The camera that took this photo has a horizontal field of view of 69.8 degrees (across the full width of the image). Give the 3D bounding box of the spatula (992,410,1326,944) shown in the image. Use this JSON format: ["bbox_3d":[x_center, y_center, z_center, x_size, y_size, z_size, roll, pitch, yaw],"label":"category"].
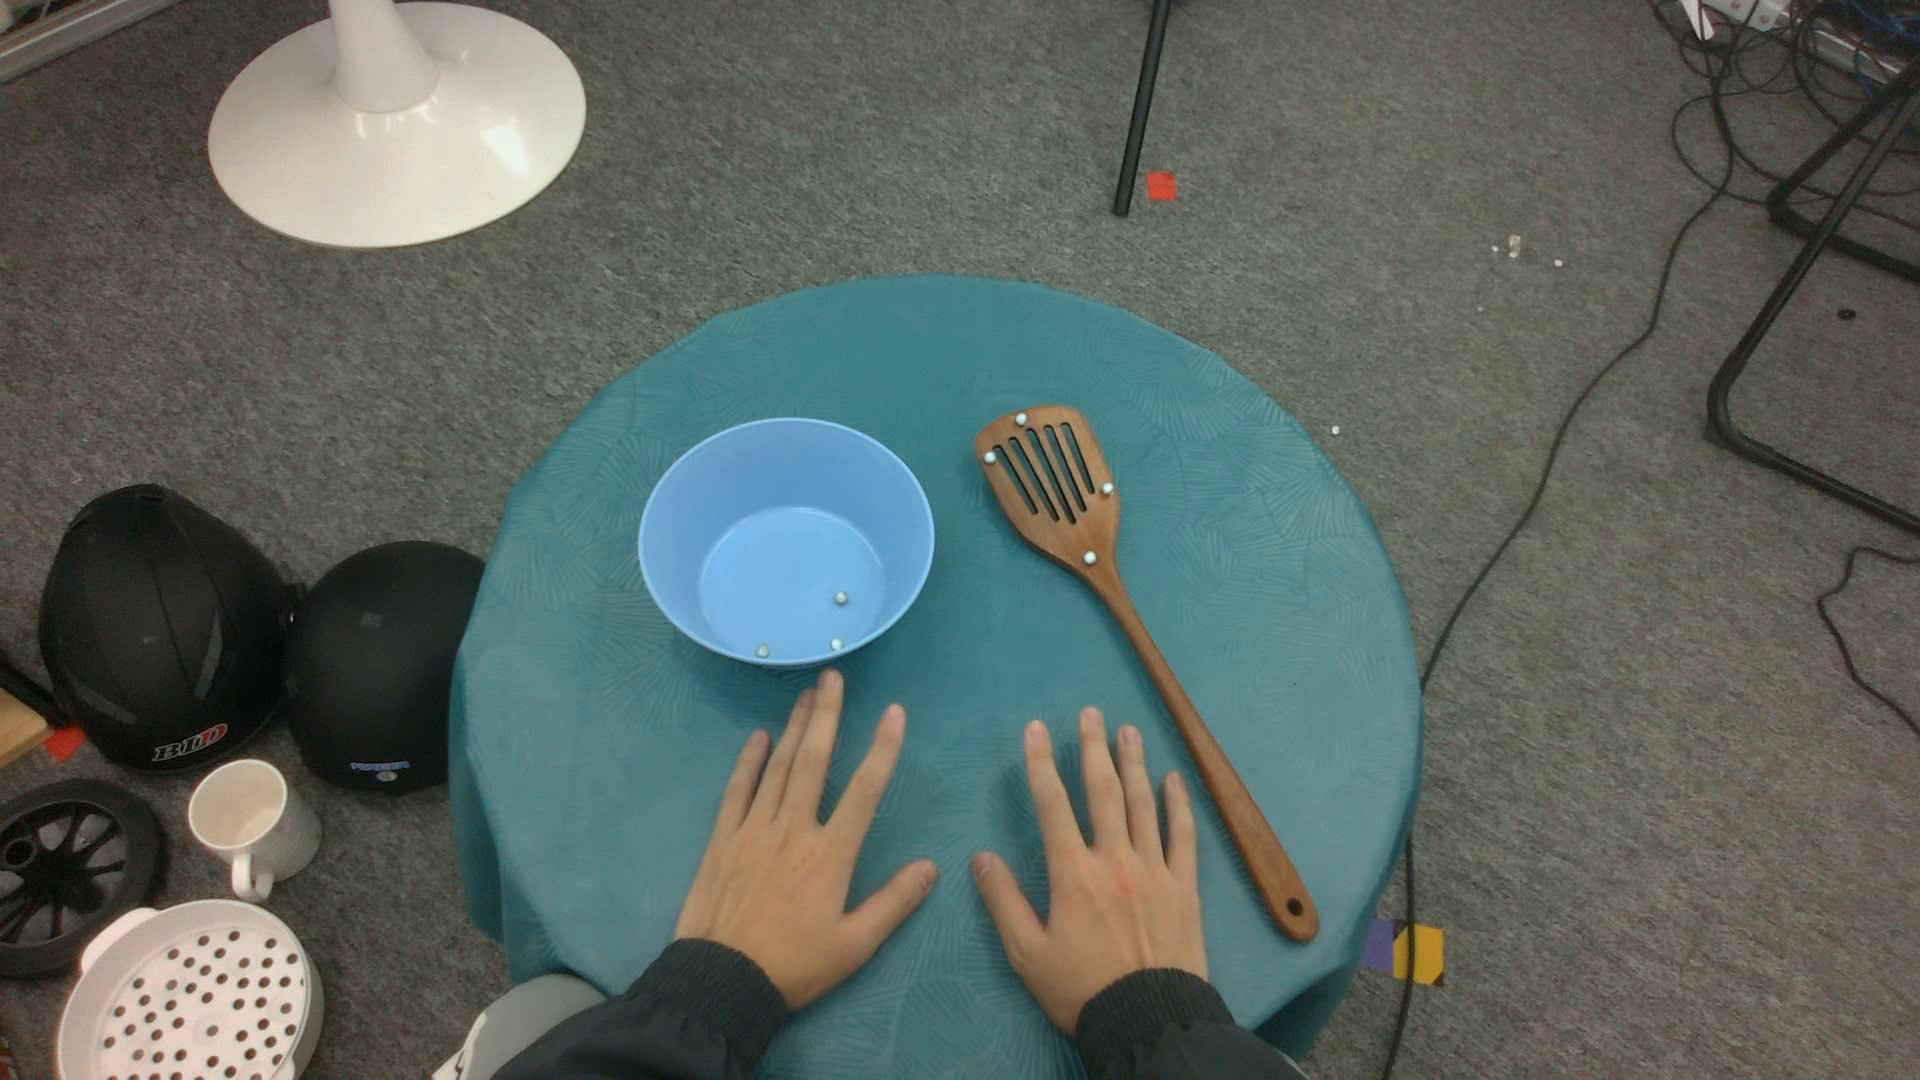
[{"bbox_3d":[0.128,0.074,0.870,0.085,0.024,0.387,-18,61,-14],"label":"spatula"}]

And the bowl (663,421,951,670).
[{"bbox_3d":[-0.094,0.014,0.866,0.176,0.070,0.177,1,58,-2],"label":"bowl"}]
